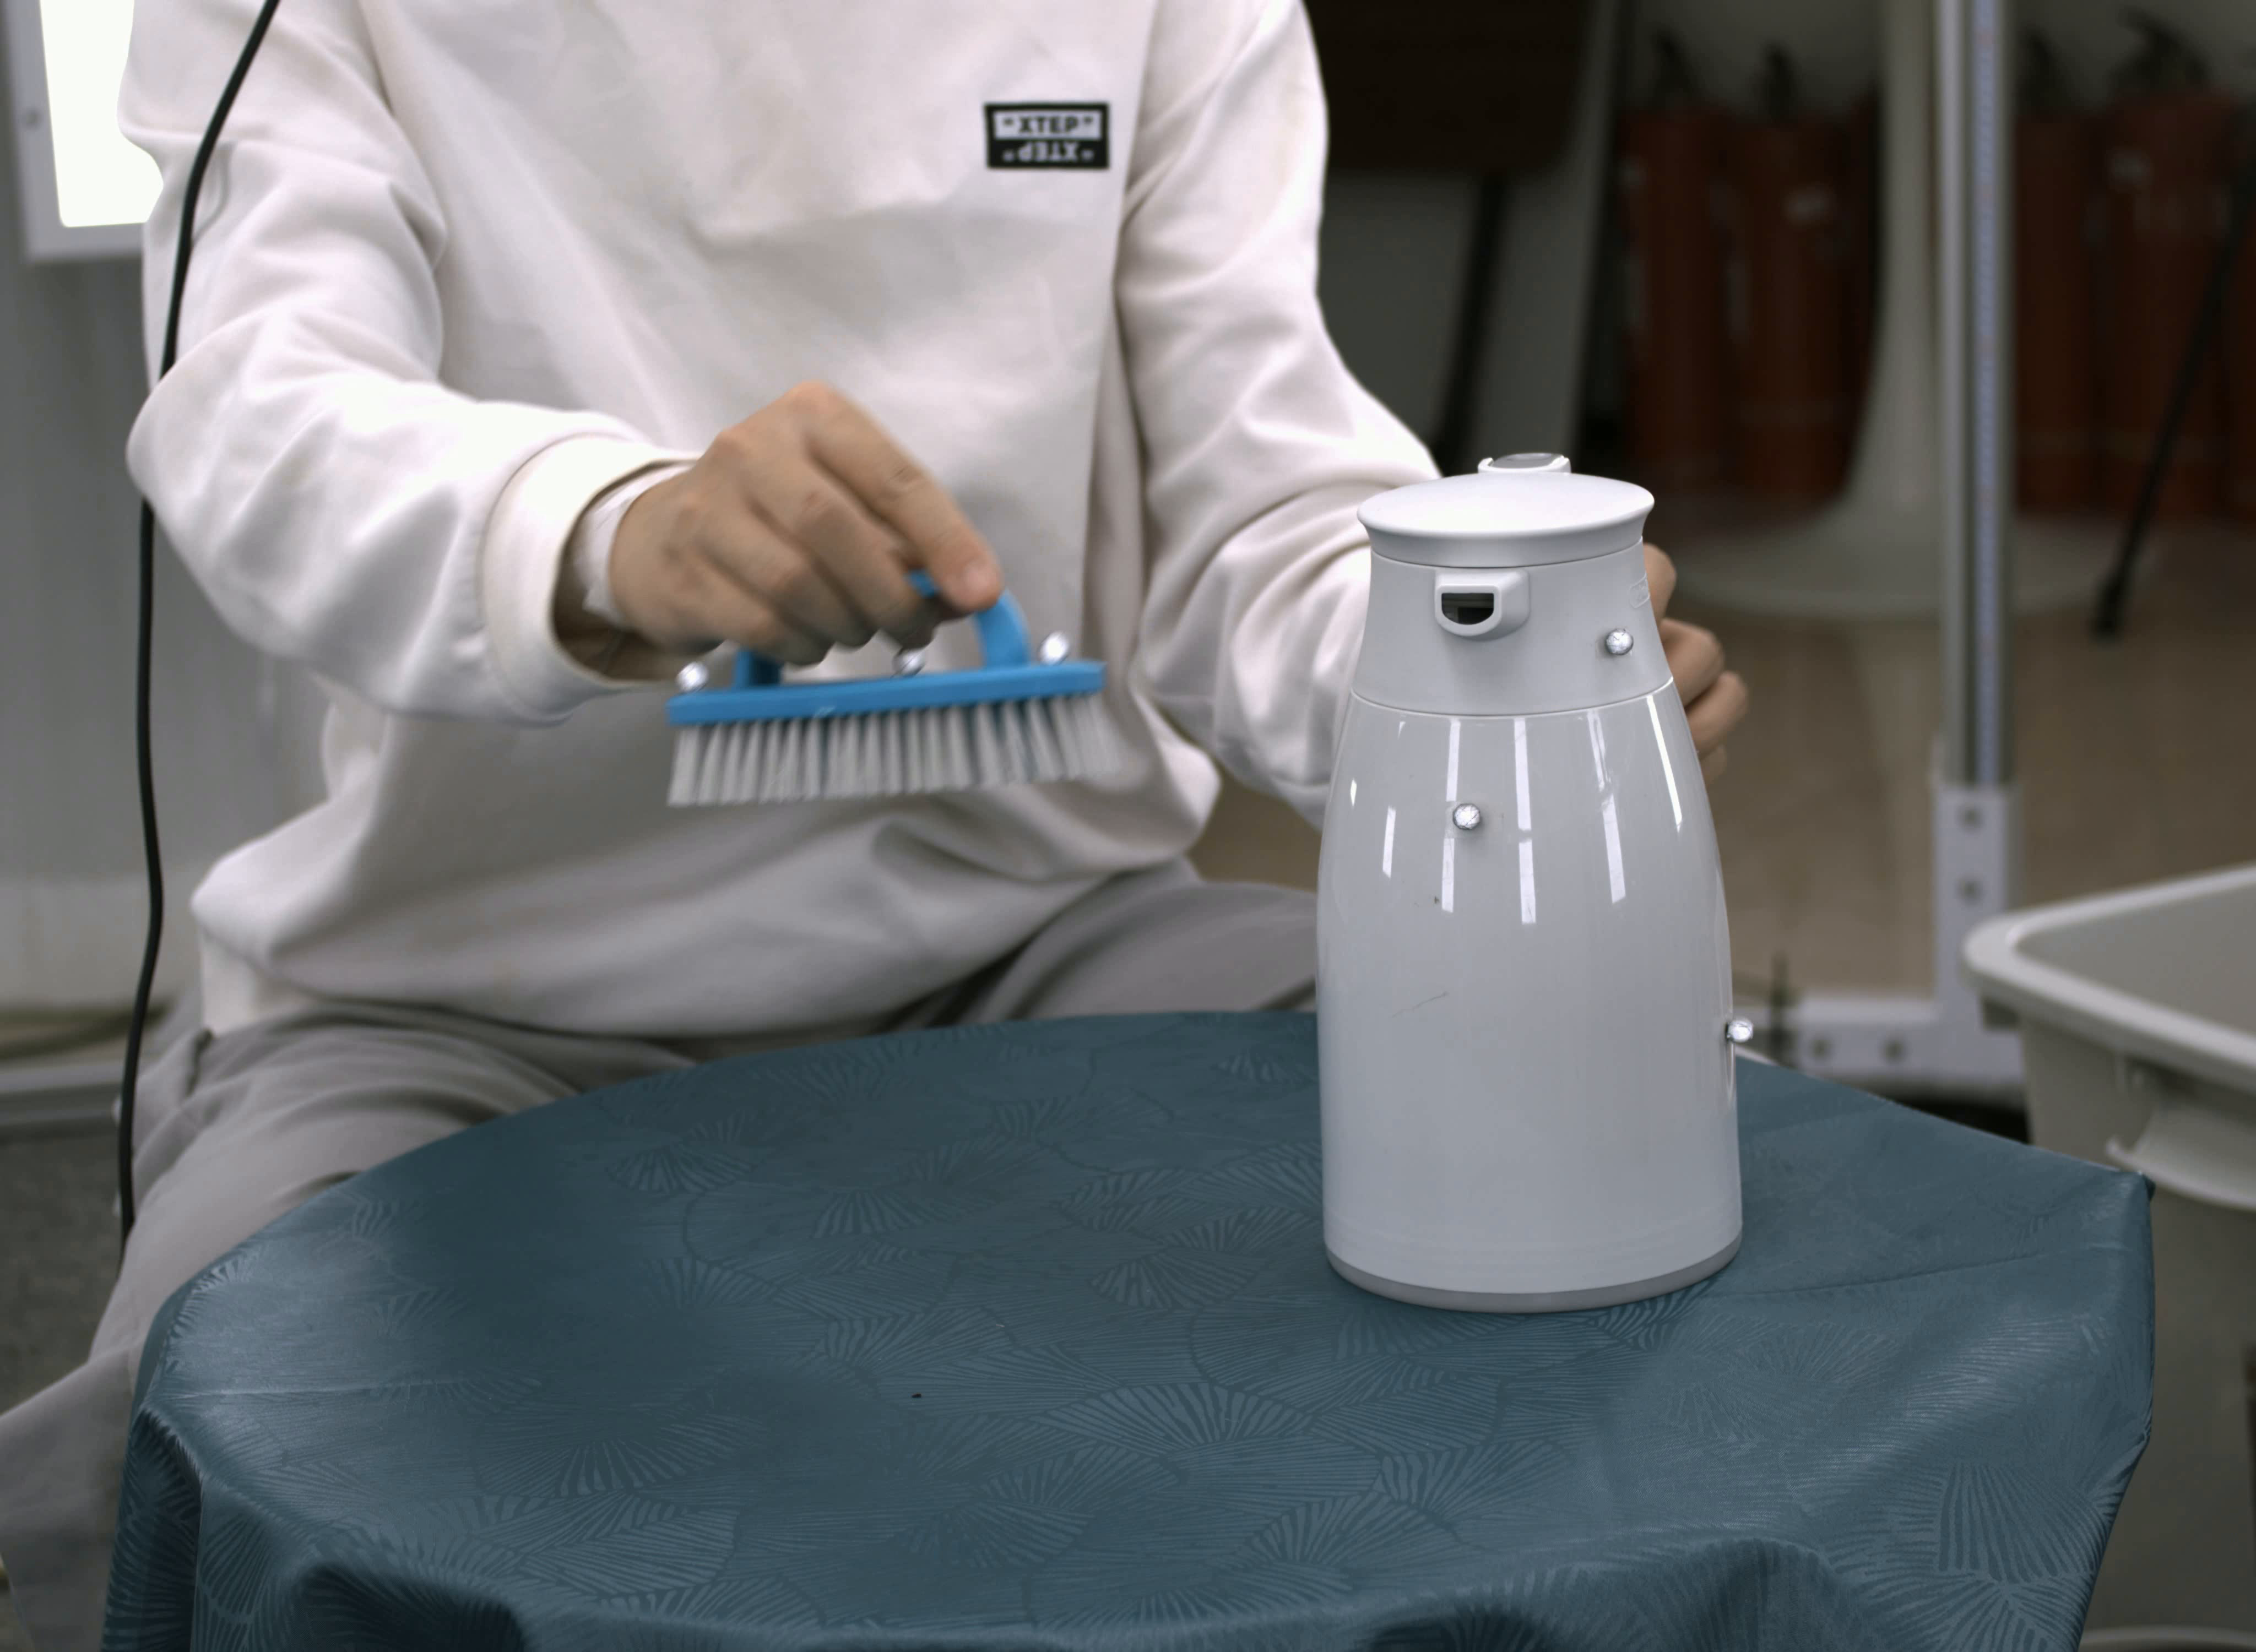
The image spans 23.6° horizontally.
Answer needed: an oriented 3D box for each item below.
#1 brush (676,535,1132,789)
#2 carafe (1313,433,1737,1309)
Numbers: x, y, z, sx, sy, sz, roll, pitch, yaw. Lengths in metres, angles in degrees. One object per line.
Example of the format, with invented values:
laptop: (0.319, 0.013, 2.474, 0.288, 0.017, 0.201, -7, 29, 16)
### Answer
brush: (-0.069, -0.050, 1.565, 0.142, 0.064, 0.083, -5, 5, 30)
carafe: (0.123, 0.006, 1.682, 0.132, 0.251, 0.166, 0, 12, 15)
